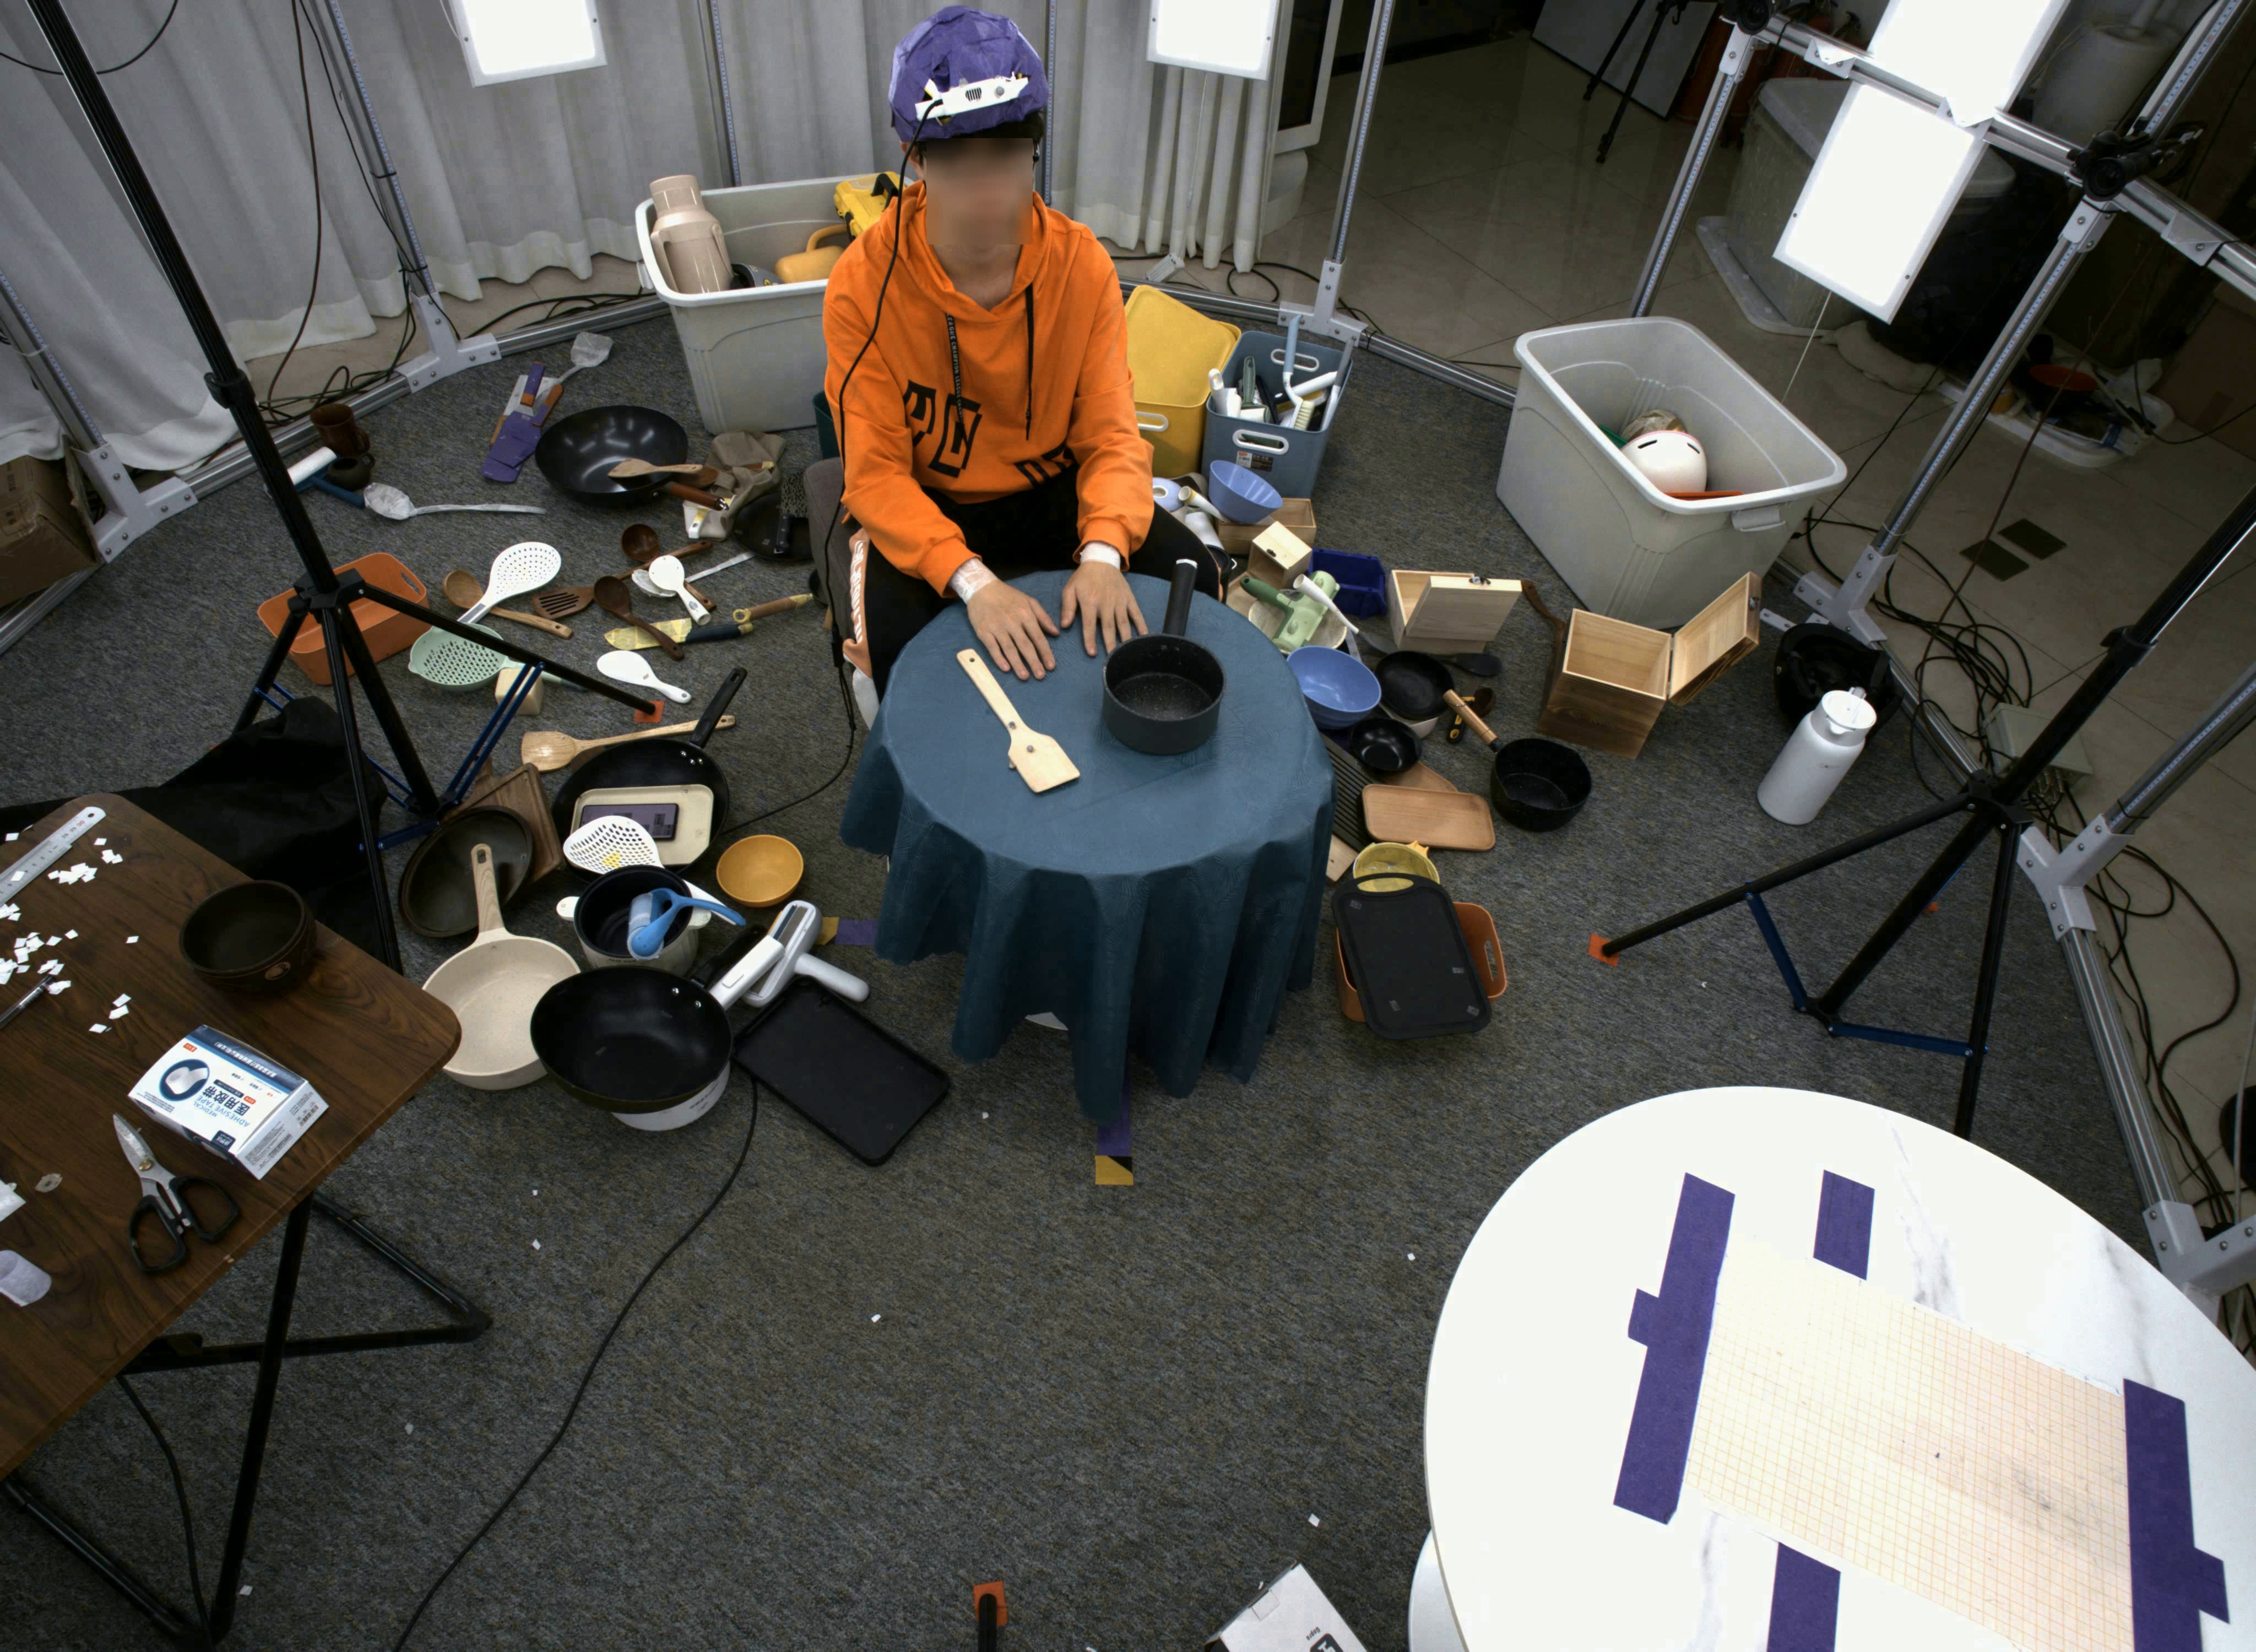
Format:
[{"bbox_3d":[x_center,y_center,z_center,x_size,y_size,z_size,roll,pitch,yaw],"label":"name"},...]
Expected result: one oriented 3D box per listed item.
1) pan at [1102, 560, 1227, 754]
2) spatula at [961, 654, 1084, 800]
[{"bbox_3d":[0.064,-0.244,1.831,0.172,0.084,0.336,11,51,5],"label":"pan"},{"bbox_3d":[-0.160,-0.145,1.789,0.072,0.010,0.299,-23,55,-19],"label":"spatula"}]
